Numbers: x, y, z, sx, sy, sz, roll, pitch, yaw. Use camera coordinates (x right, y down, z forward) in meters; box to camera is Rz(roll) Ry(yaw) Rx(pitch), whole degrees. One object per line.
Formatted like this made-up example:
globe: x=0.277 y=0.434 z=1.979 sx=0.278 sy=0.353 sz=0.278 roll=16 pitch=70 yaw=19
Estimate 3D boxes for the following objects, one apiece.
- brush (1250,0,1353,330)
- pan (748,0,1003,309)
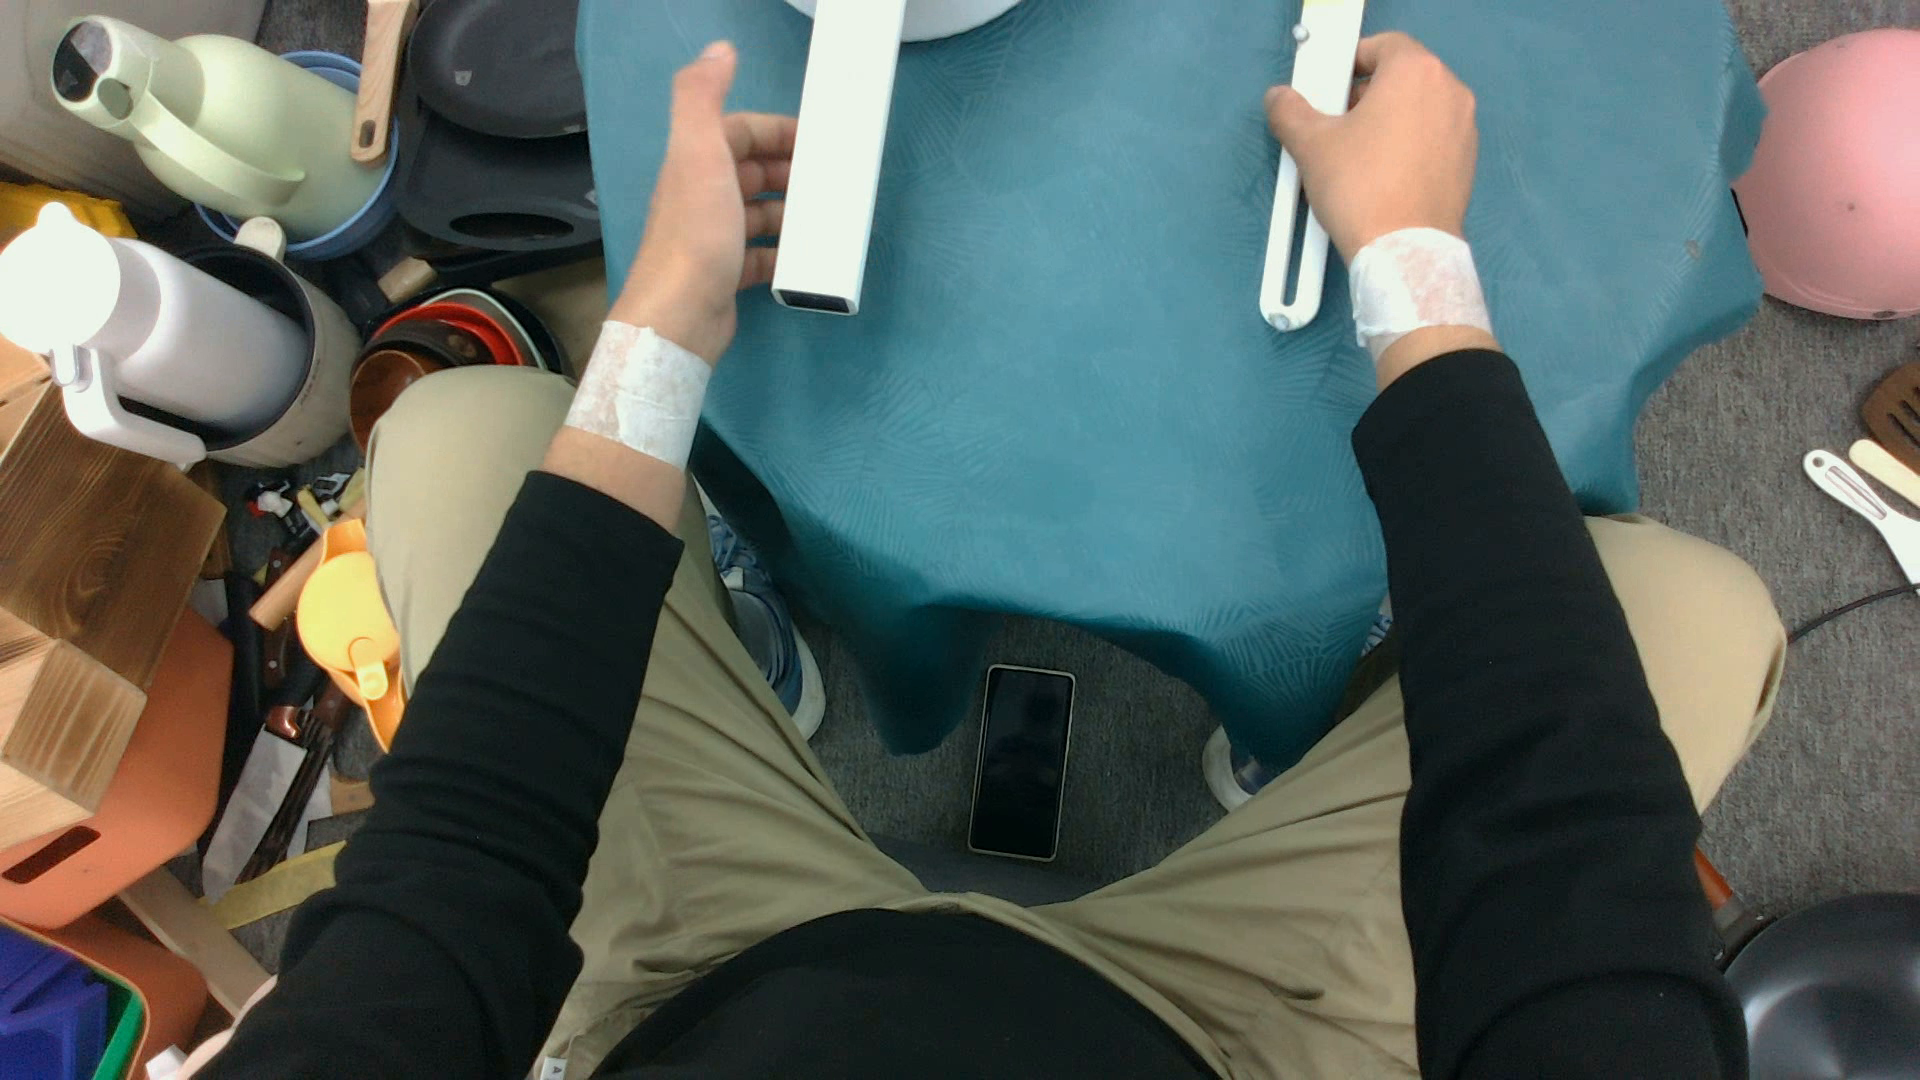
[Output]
brush: x=0.176 y=-0.241 z=0.694 sx=0.068 sy=0.056 sz=0.267 roll=8 pitch=84 yaw=31
pan: x=-0.050 y=-0.282 z=0.690 sx=0.201 sy=0.102 sz=0.355 roll=8 pitch=83 yaw=2
